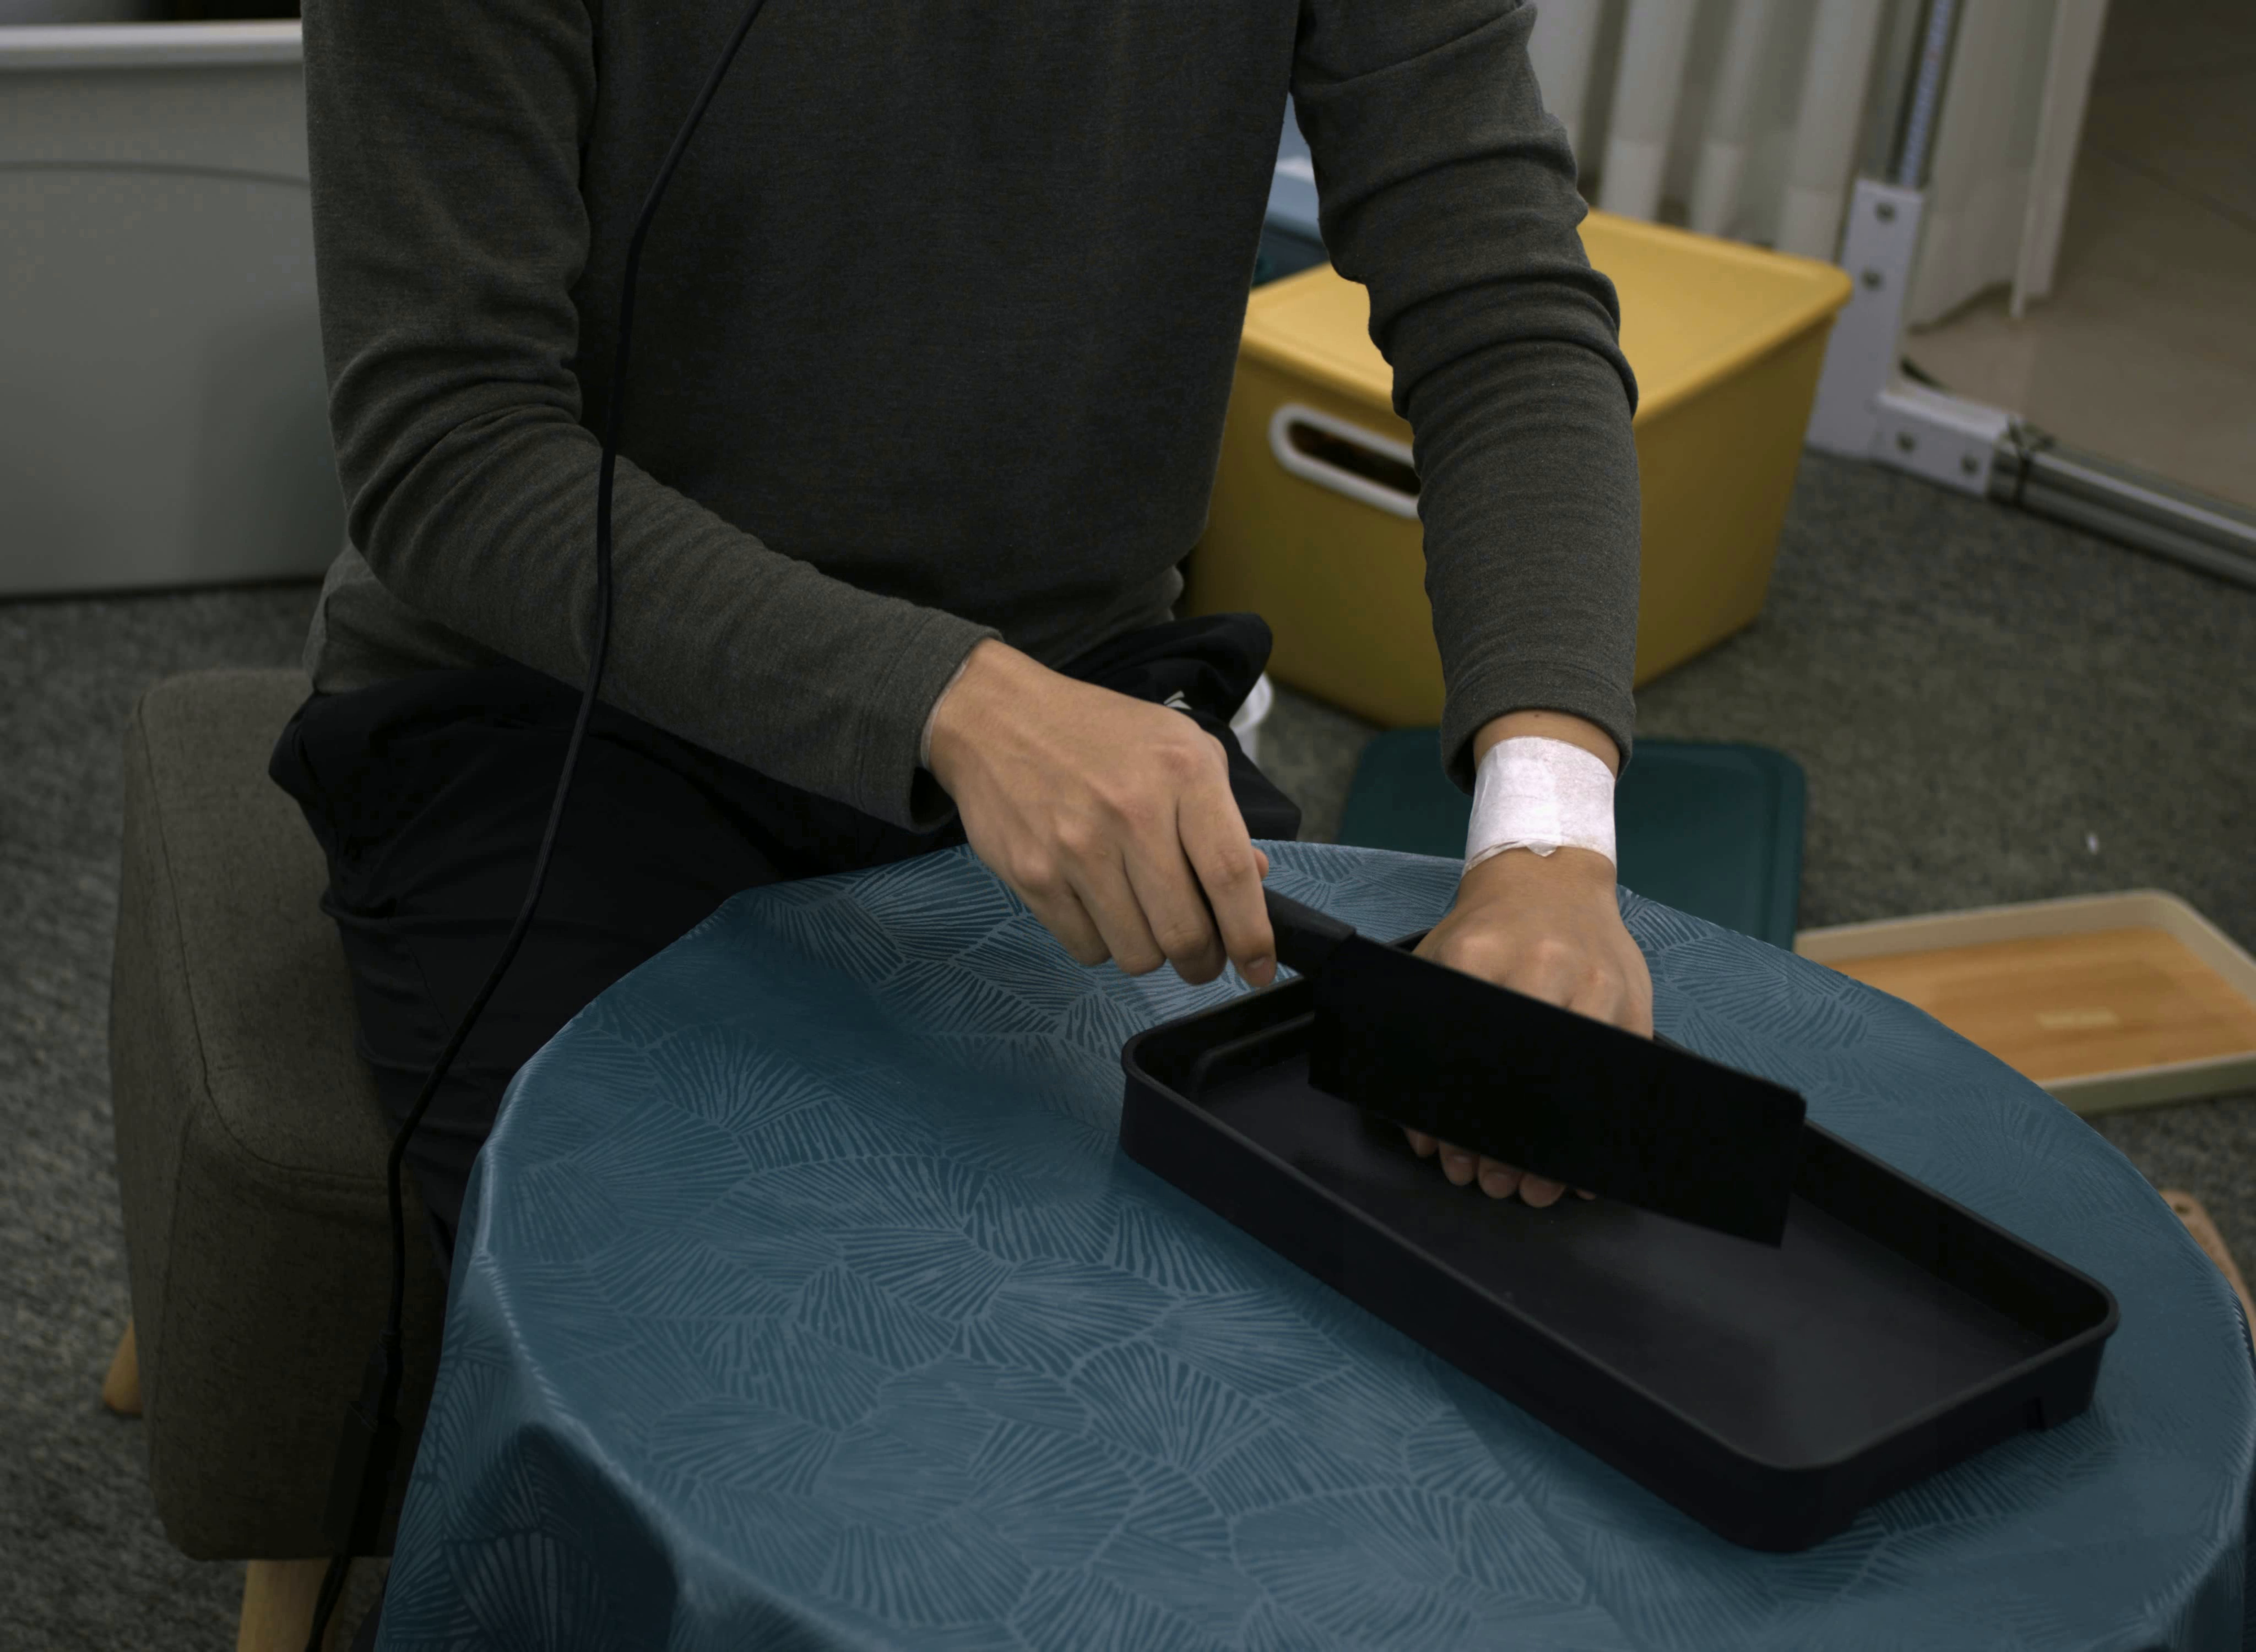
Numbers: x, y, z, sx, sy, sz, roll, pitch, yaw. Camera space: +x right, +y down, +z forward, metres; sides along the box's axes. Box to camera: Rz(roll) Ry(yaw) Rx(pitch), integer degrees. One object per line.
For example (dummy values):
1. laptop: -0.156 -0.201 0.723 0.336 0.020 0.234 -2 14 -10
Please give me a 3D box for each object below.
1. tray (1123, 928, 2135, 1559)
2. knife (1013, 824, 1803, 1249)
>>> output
1. tray: 0.162 0.133 1.783 0.183 0.037 0.320 -19 36 -41
2. knife: 0.091 0.067 1.807 0.304 0.080 0.021 24 31 23
